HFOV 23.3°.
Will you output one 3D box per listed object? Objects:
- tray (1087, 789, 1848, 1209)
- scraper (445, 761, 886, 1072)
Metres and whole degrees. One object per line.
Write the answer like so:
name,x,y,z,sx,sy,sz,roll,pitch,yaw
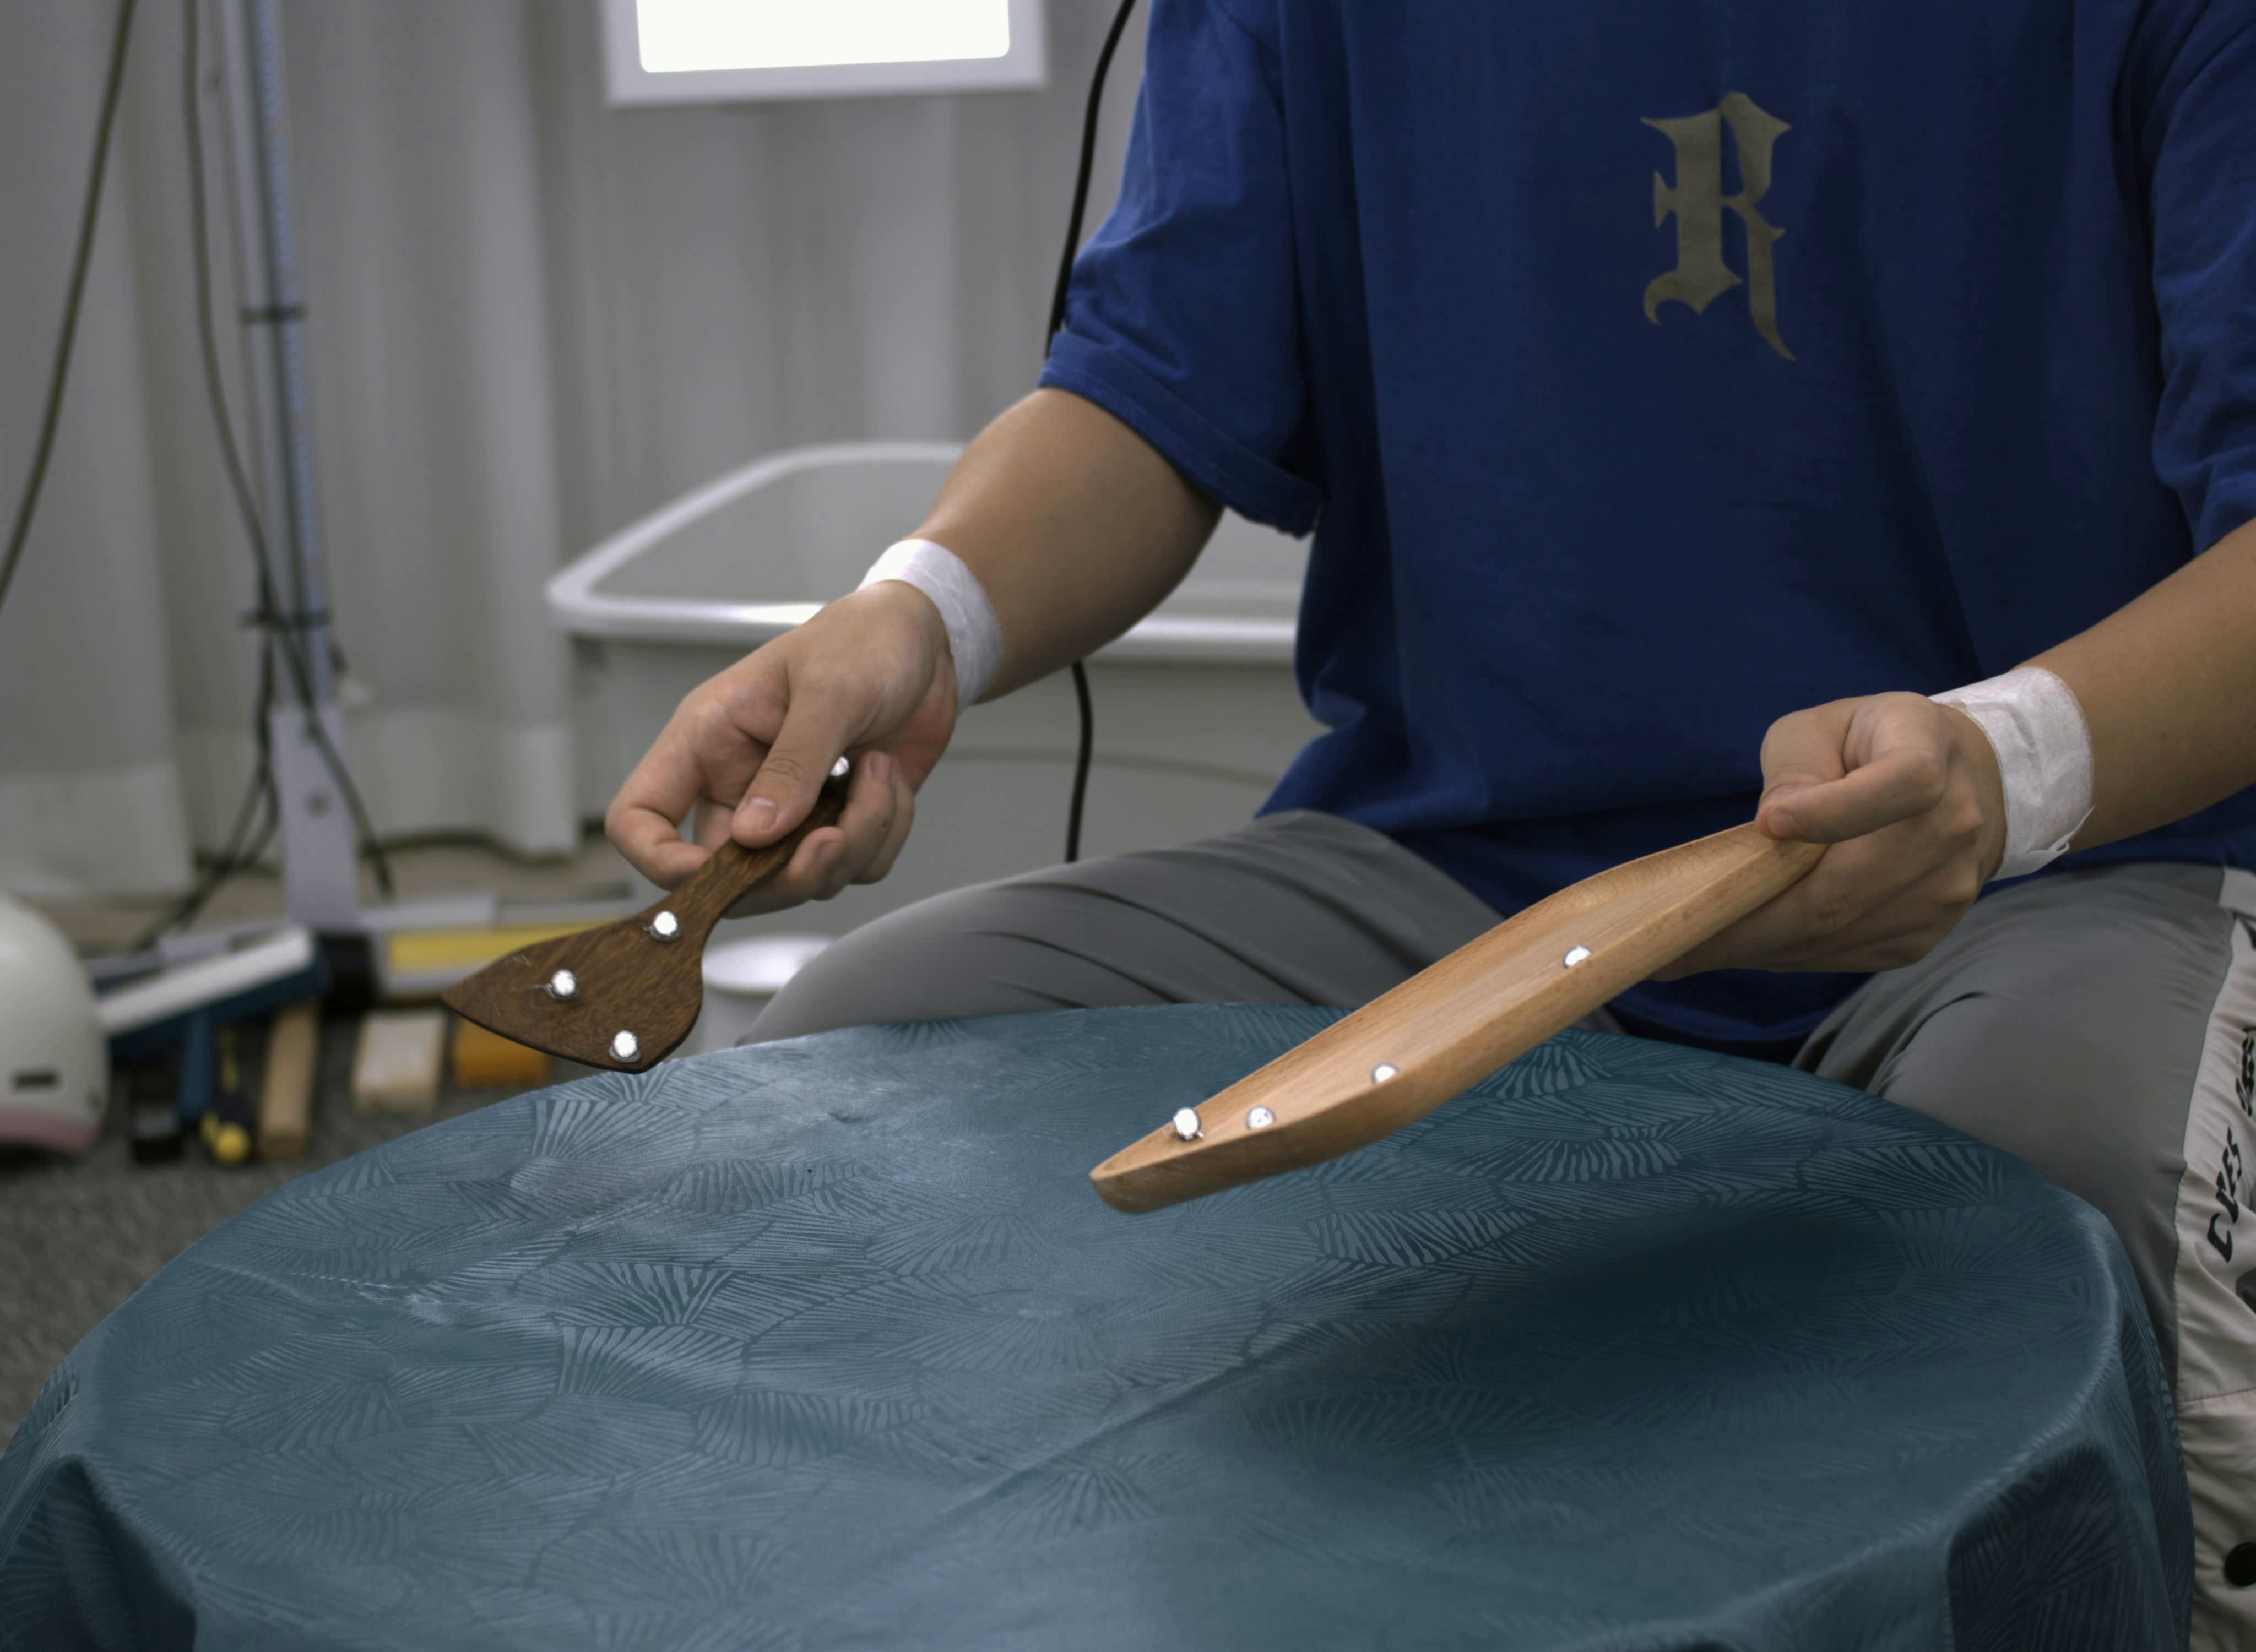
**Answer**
tray,0.101,0.049,1.574,0.251,0.023,0.130,-27,7,-42
scraper,-0.138,0.026,1.780,0.076,0.011,0.212,17,32,21
